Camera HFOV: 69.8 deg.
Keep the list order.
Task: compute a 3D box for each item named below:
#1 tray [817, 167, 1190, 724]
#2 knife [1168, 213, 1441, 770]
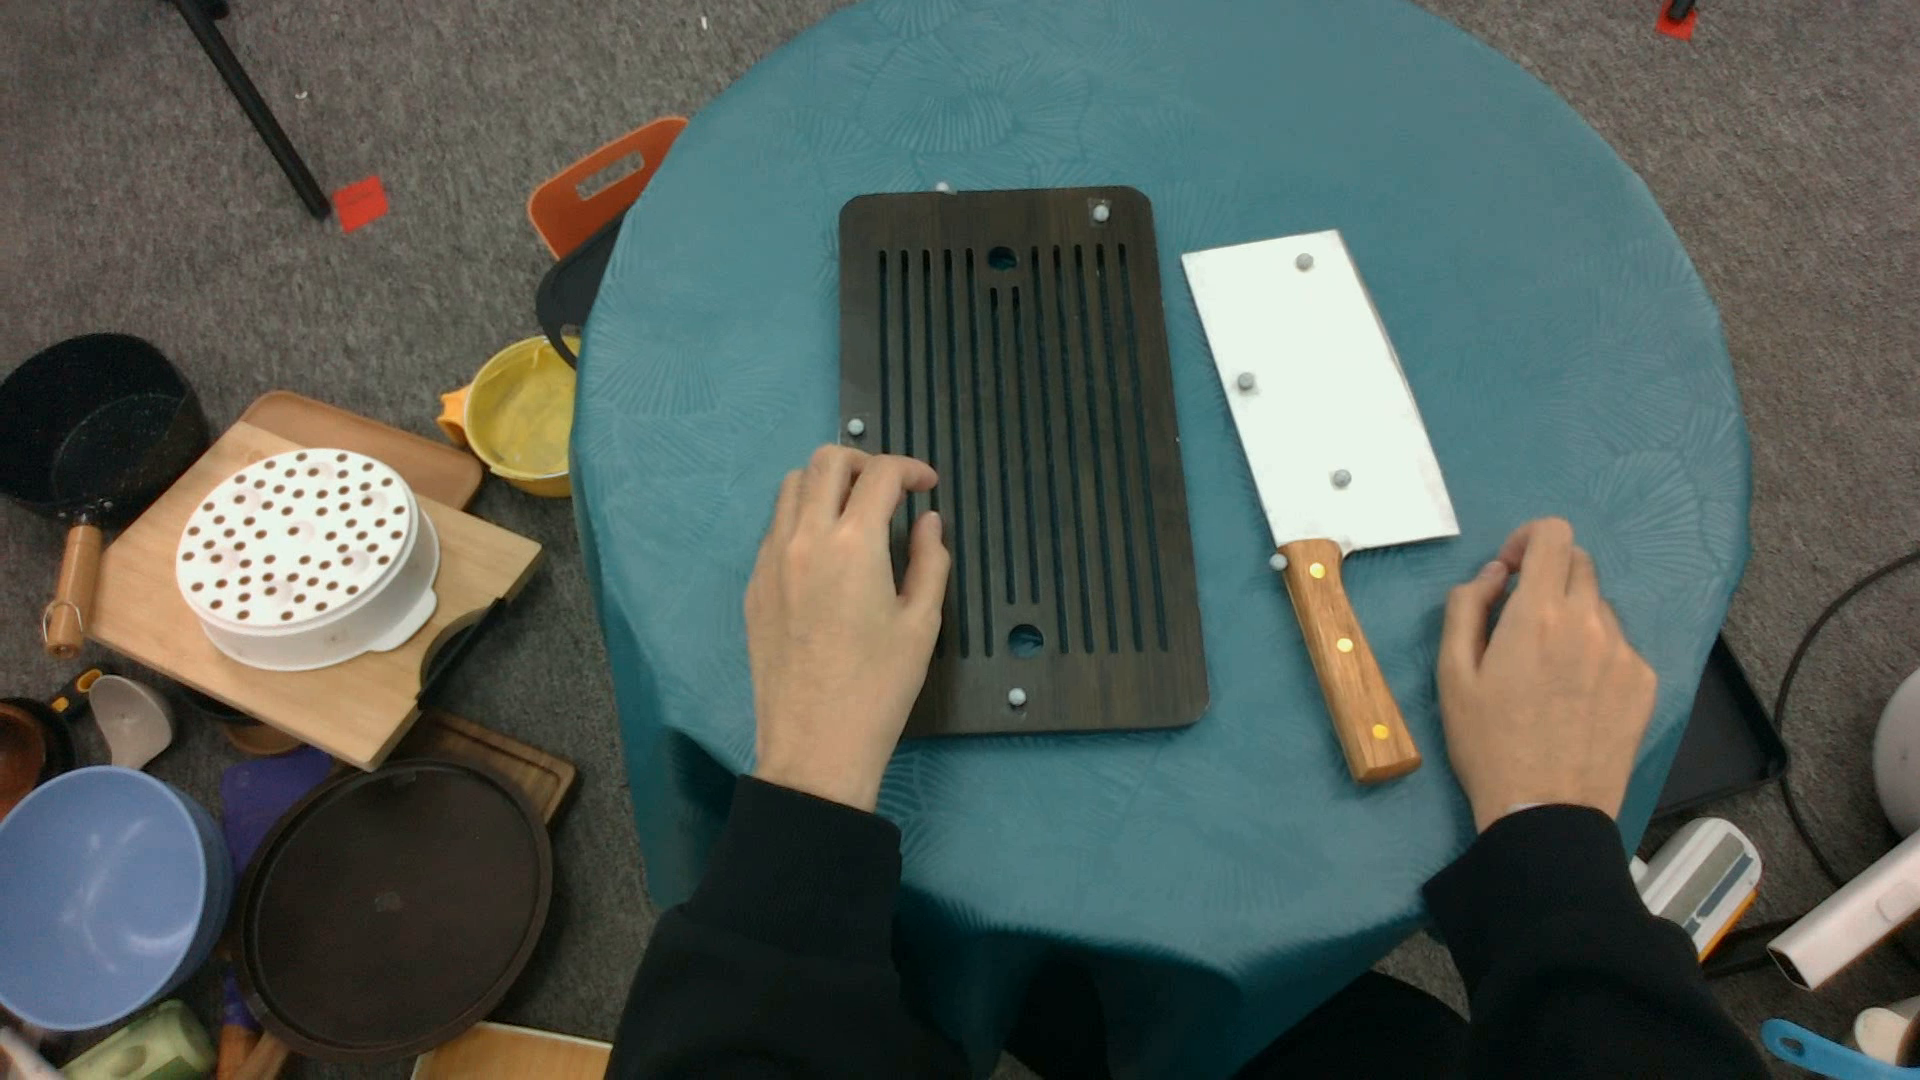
[{"bbox_3d":[0.015,-0.058,0.685,0.170,0.018,0.307,-1,66,-2],"label":"tray"},{"bbox_3d":[0.183,-0.039,0.680,0.093,0.021,0.306,-9,64,-6],"label":"knife"}]
